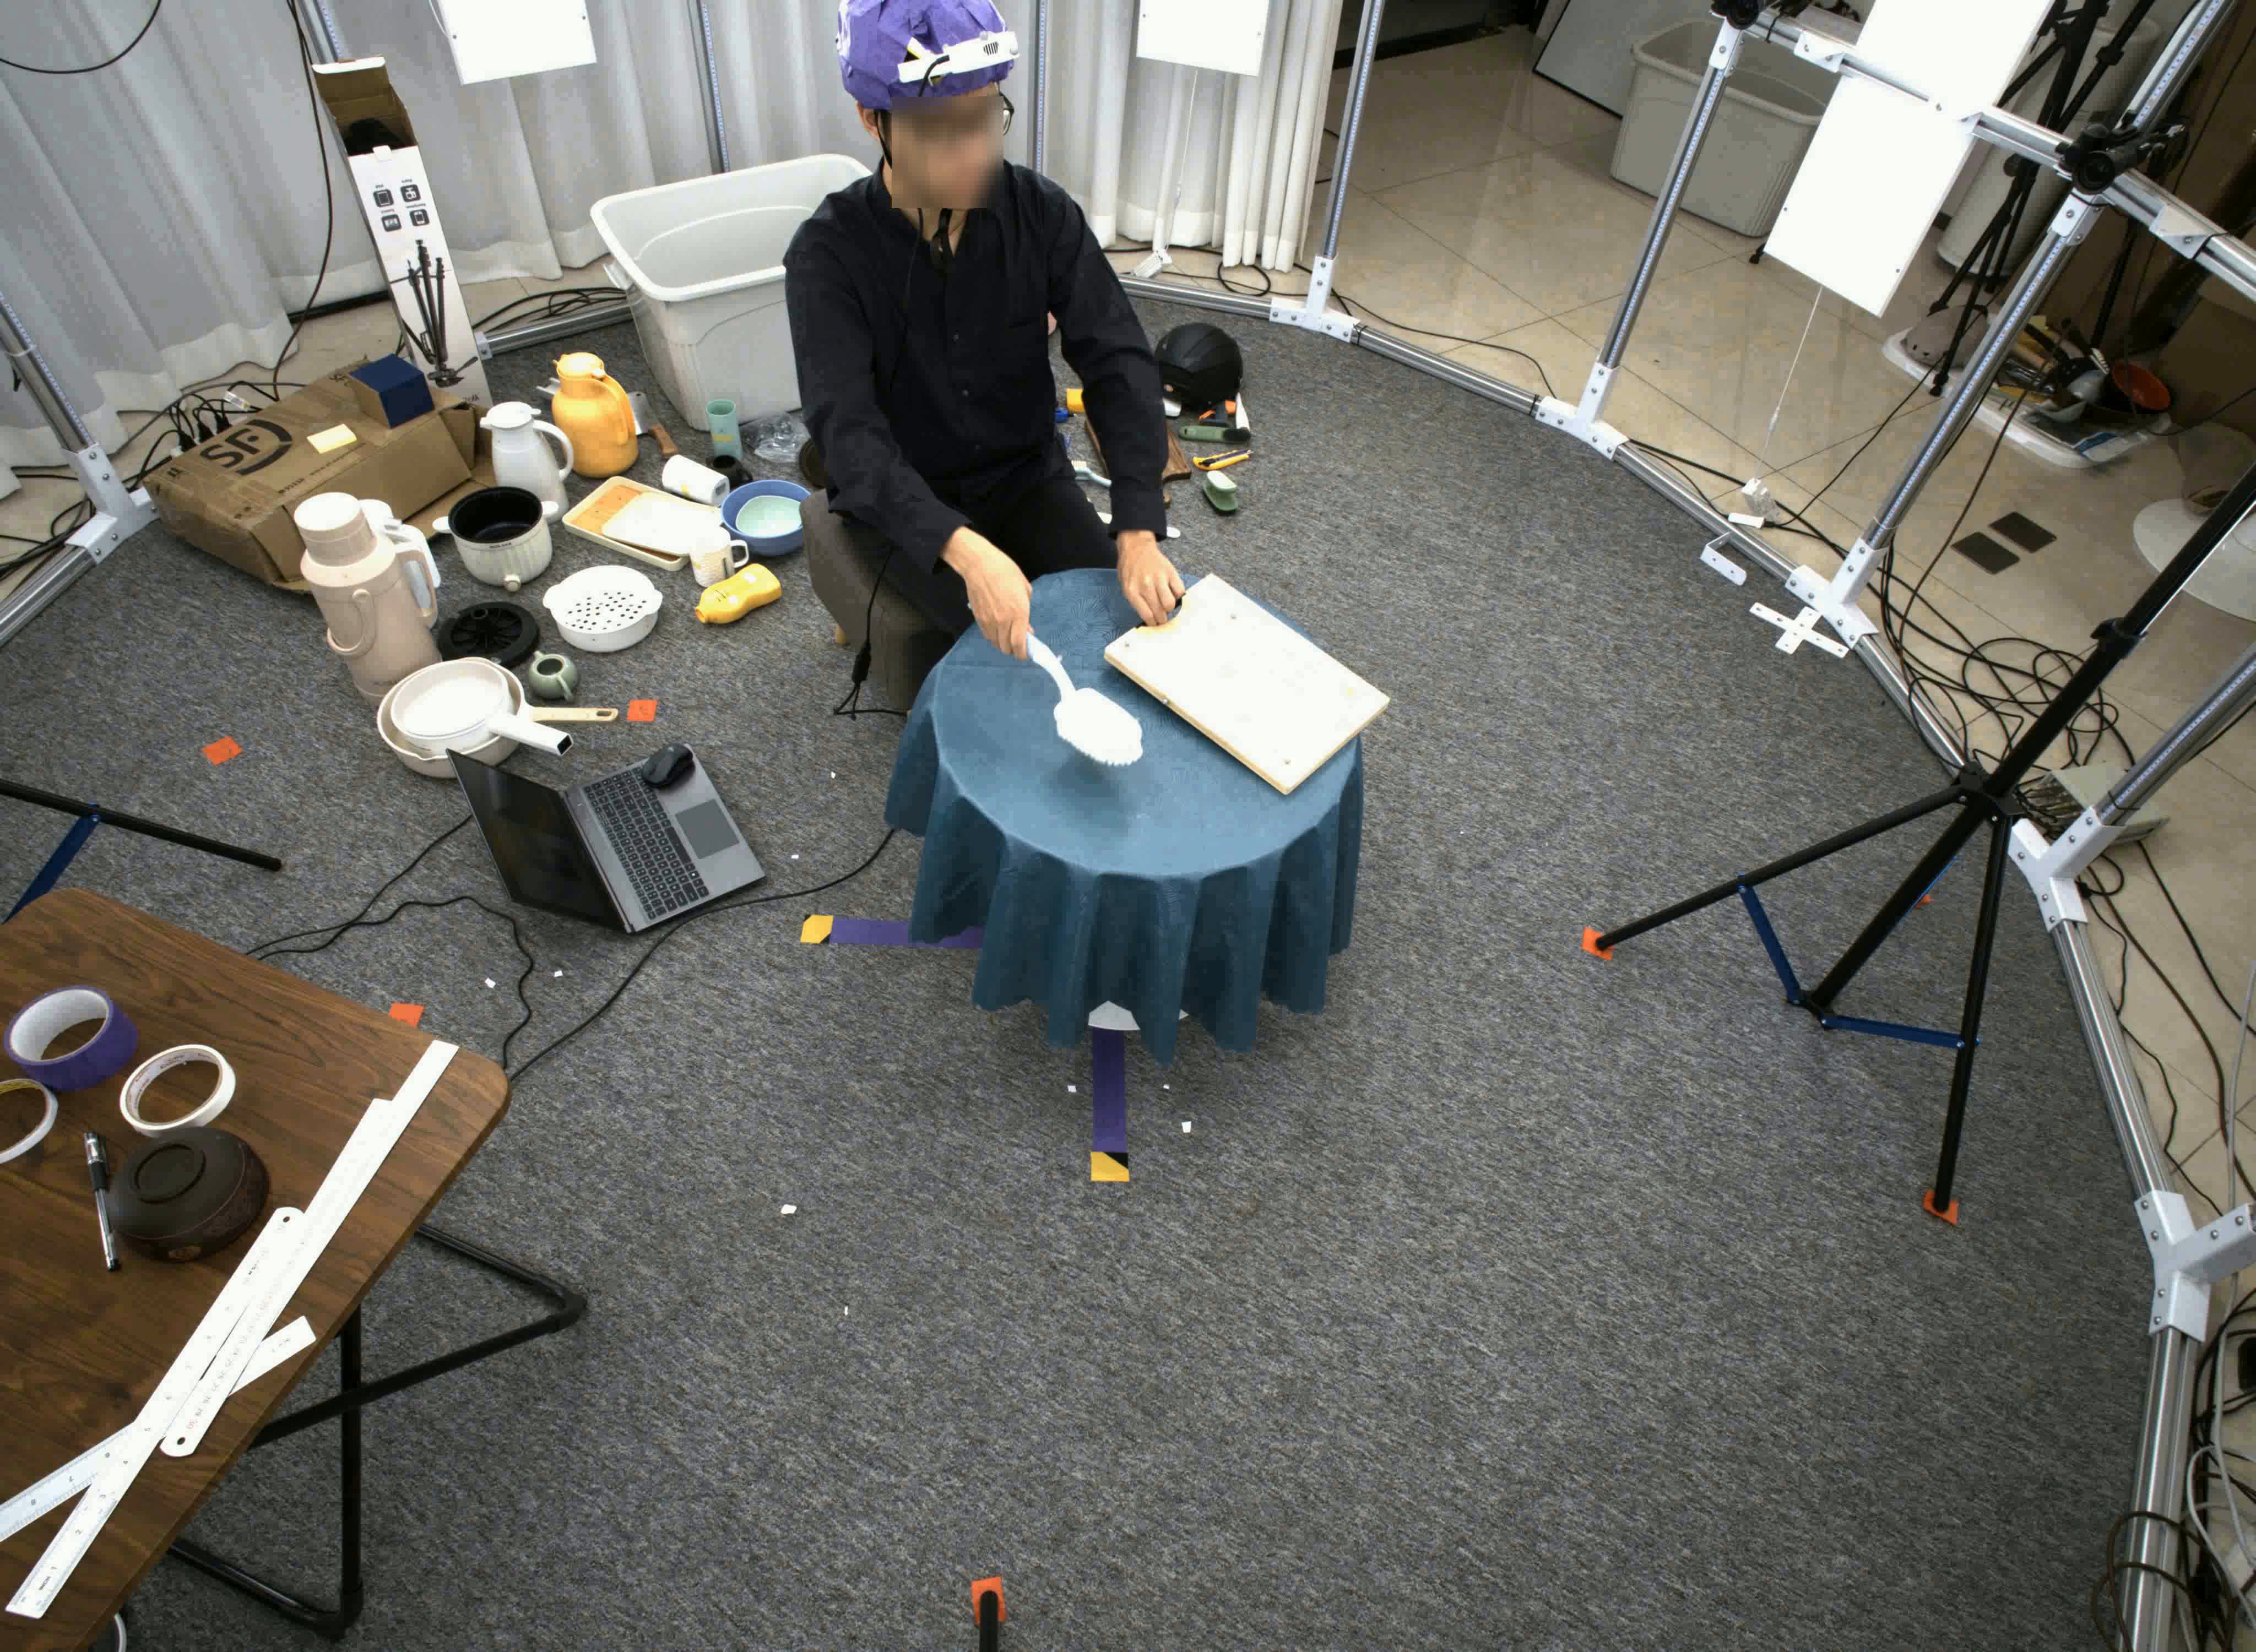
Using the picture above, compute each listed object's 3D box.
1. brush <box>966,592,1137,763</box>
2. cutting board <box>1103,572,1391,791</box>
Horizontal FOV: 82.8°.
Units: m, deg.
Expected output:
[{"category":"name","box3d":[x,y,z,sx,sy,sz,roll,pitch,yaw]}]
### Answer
[{"category":"brush","box3d":[-0.105,-0.193,1.719,0.330,0.083,0.083,43,22,21]},{"category":"cutting board","box3d":[0.170,-0.215,1.843,0.353,0.023,0.253,37,56,20]}]
